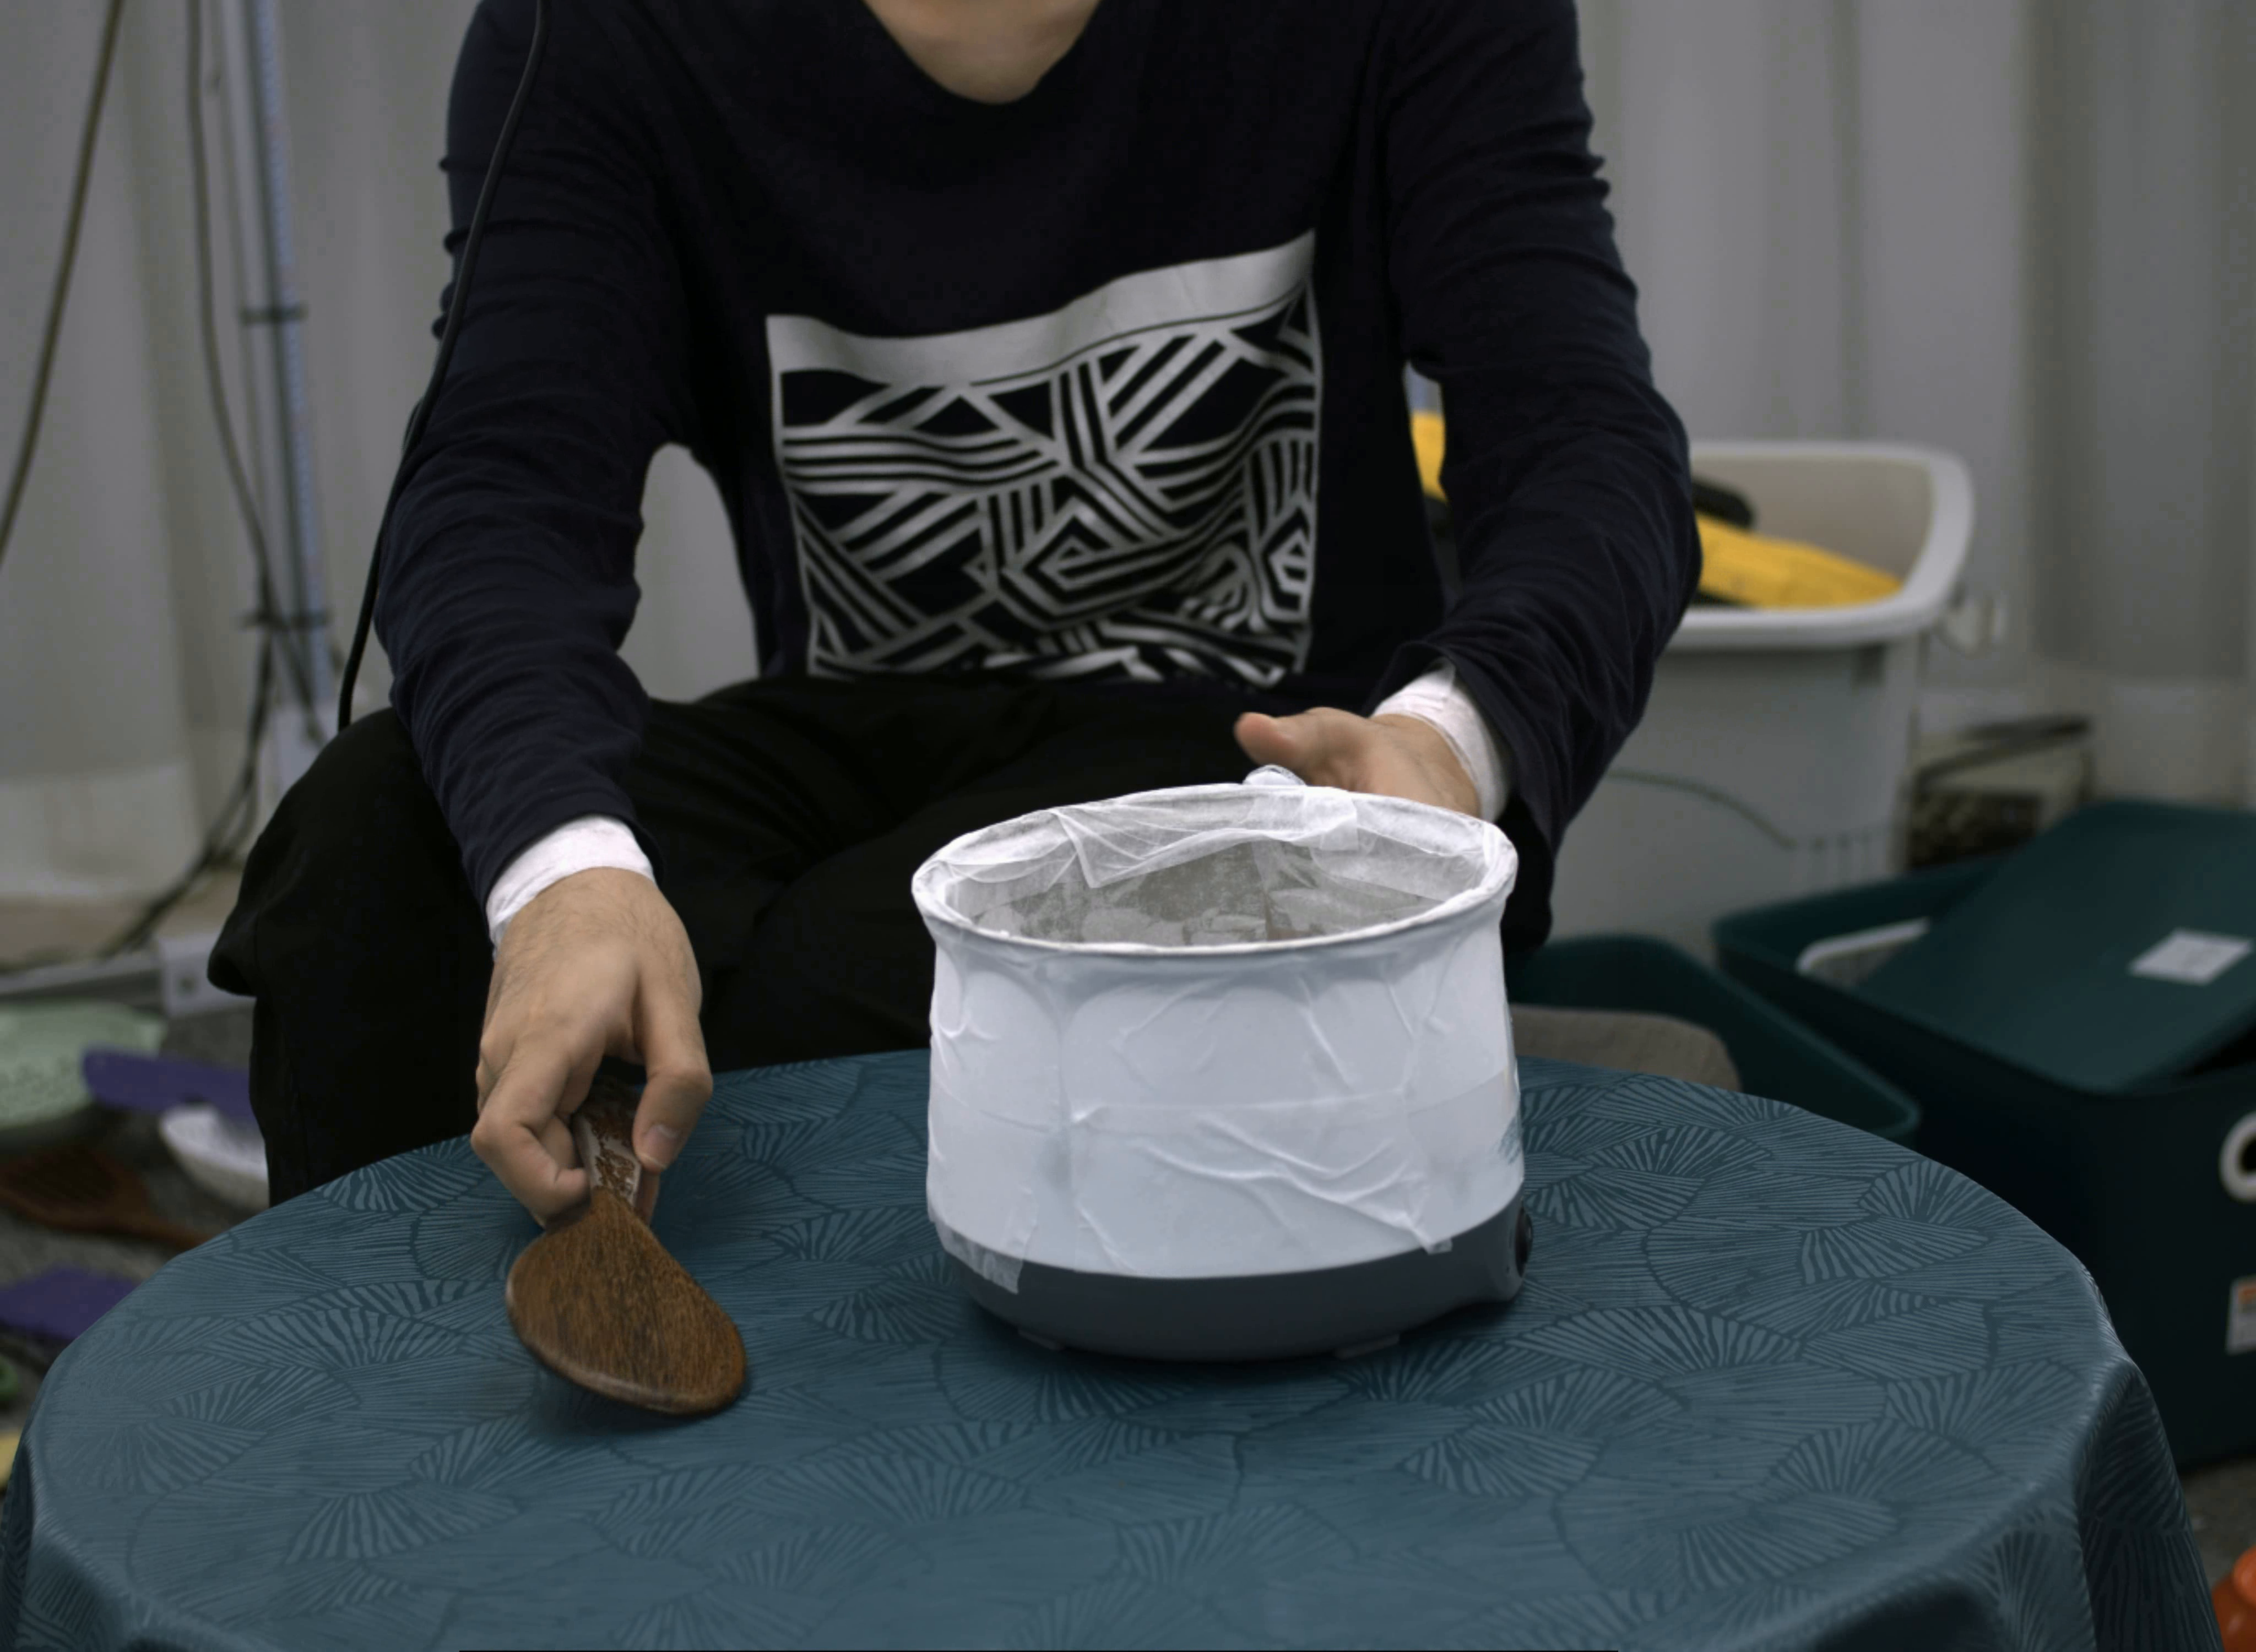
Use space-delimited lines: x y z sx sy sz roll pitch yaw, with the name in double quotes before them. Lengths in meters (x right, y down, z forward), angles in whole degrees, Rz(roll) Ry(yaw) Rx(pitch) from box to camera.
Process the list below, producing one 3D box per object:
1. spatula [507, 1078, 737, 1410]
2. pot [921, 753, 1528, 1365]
"spatula" -0.153 0.121 1.627 0.071 0.009 0.218 22 16 -14
"pot" 0.032 0.063 1.632 0.178 0.136 0.235 2 16 9
